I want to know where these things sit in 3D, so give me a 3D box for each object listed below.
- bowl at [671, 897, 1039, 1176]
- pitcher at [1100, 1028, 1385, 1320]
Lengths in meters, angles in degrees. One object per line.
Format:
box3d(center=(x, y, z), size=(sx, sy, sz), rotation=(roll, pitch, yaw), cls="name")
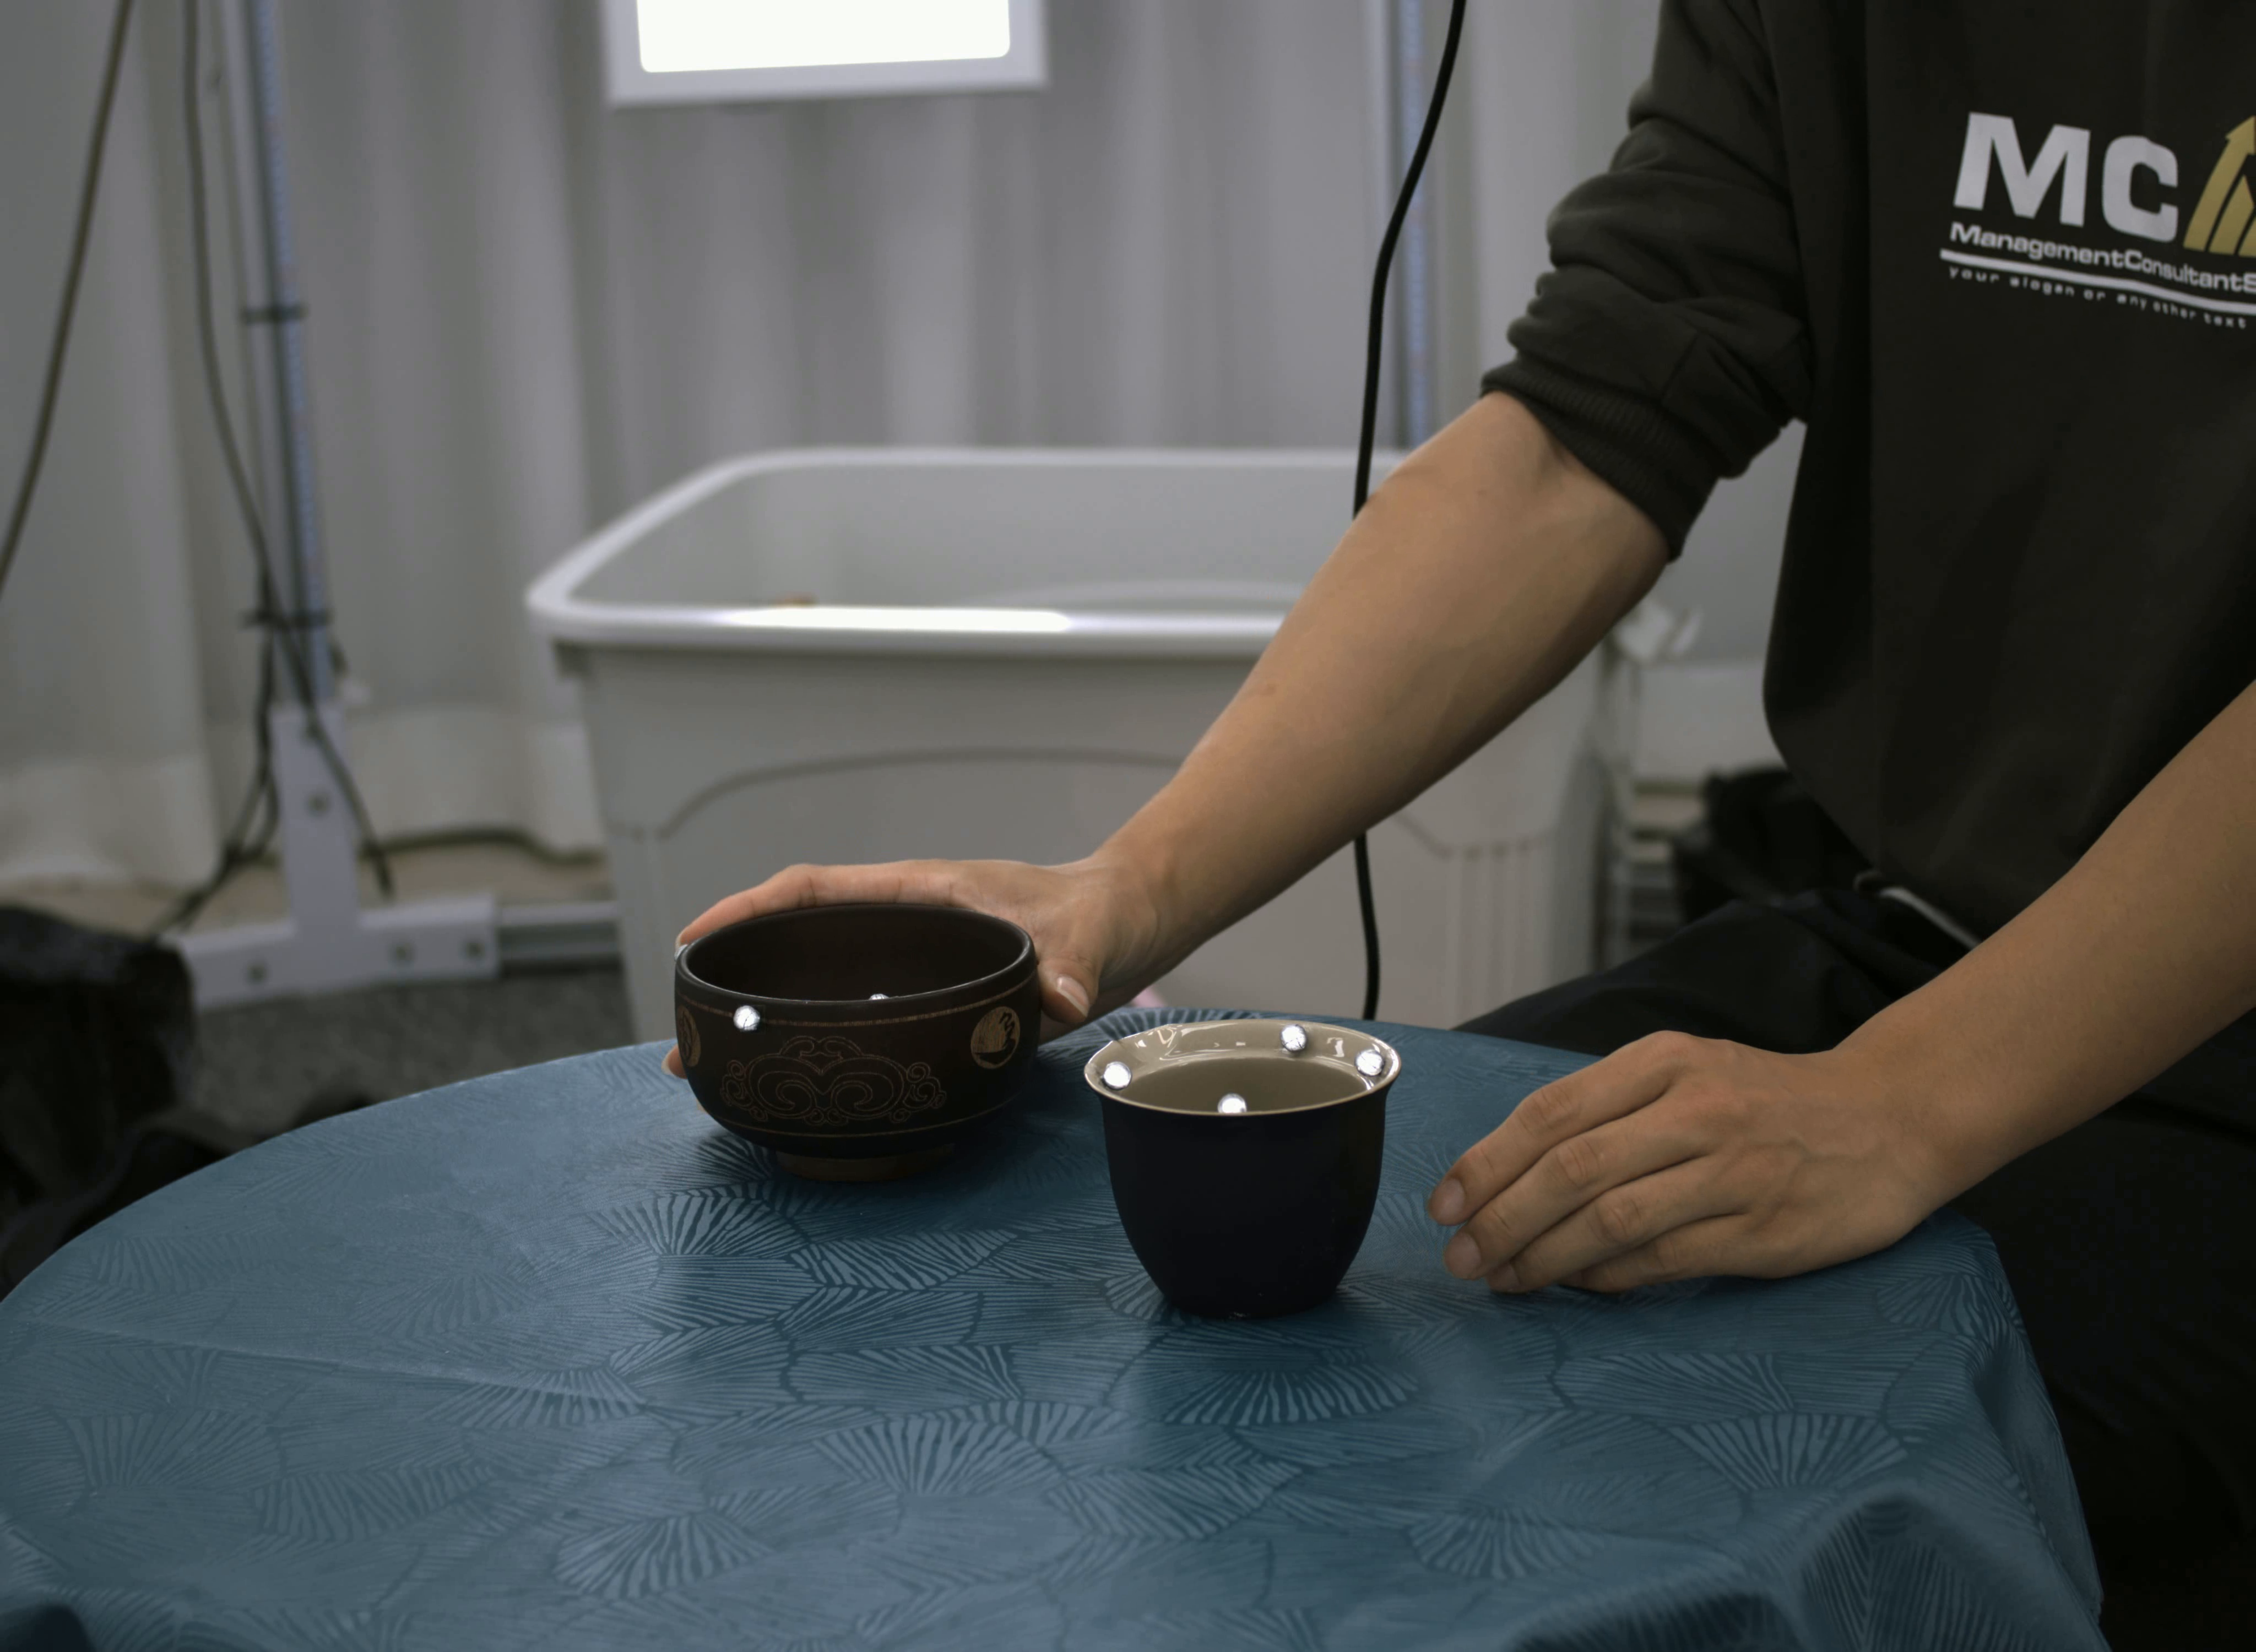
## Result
box3d(center=(-0.087, 0.071, 1.755), size=(0.117, 0.069, 0.119), rotation=(-1, 14, 0), cls="bowl")
box3d(center=(0.032, 0.103, 1.615), size=(0.083, 0.071, 0.096), rotation=(-14, 17, -30), cls="pitcher")
